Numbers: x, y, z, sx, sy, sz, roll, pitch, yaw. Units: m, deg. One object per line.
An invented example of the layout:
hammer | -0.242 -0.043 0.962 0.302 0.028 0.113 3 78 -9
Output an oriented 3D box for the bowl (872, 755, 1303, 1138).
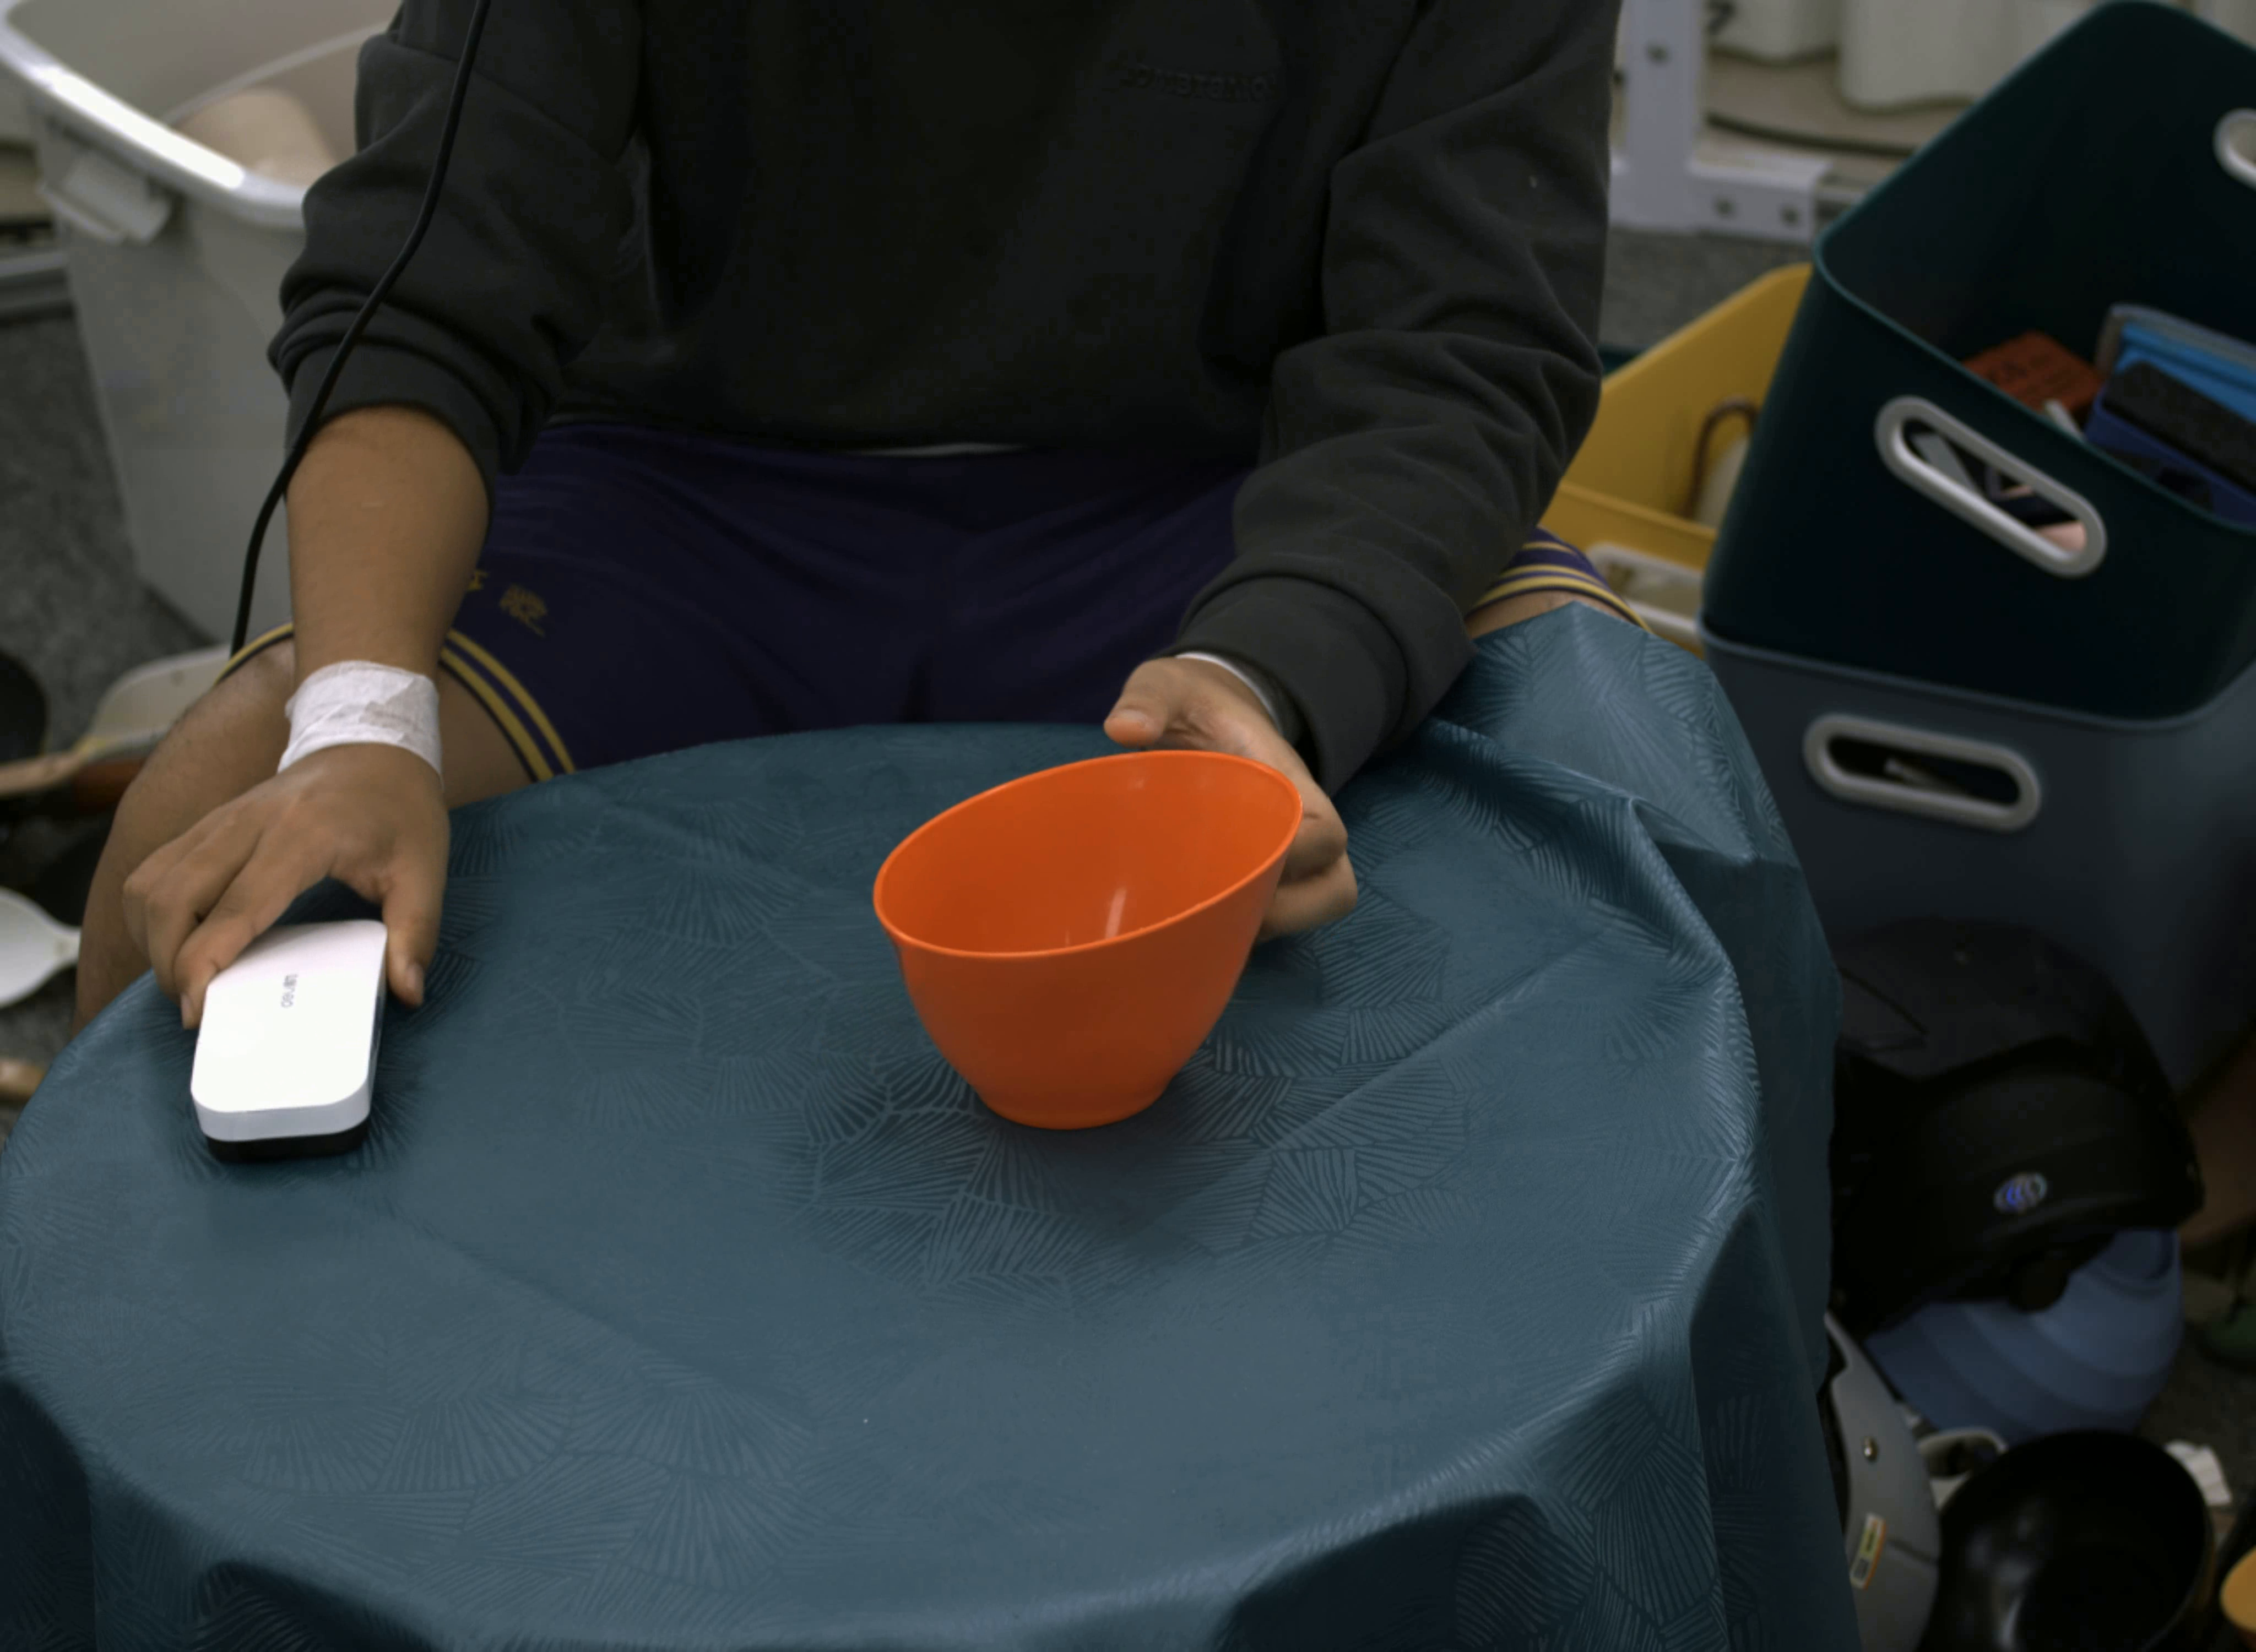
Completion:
bowl | -0.012 0.046 1.903 0.147 0.103 0.150 -3 27 2

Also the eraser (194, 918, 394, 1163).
eraser | -0.287 0.071 1.953 0.063 0.034 0.133 -2 29 -1
